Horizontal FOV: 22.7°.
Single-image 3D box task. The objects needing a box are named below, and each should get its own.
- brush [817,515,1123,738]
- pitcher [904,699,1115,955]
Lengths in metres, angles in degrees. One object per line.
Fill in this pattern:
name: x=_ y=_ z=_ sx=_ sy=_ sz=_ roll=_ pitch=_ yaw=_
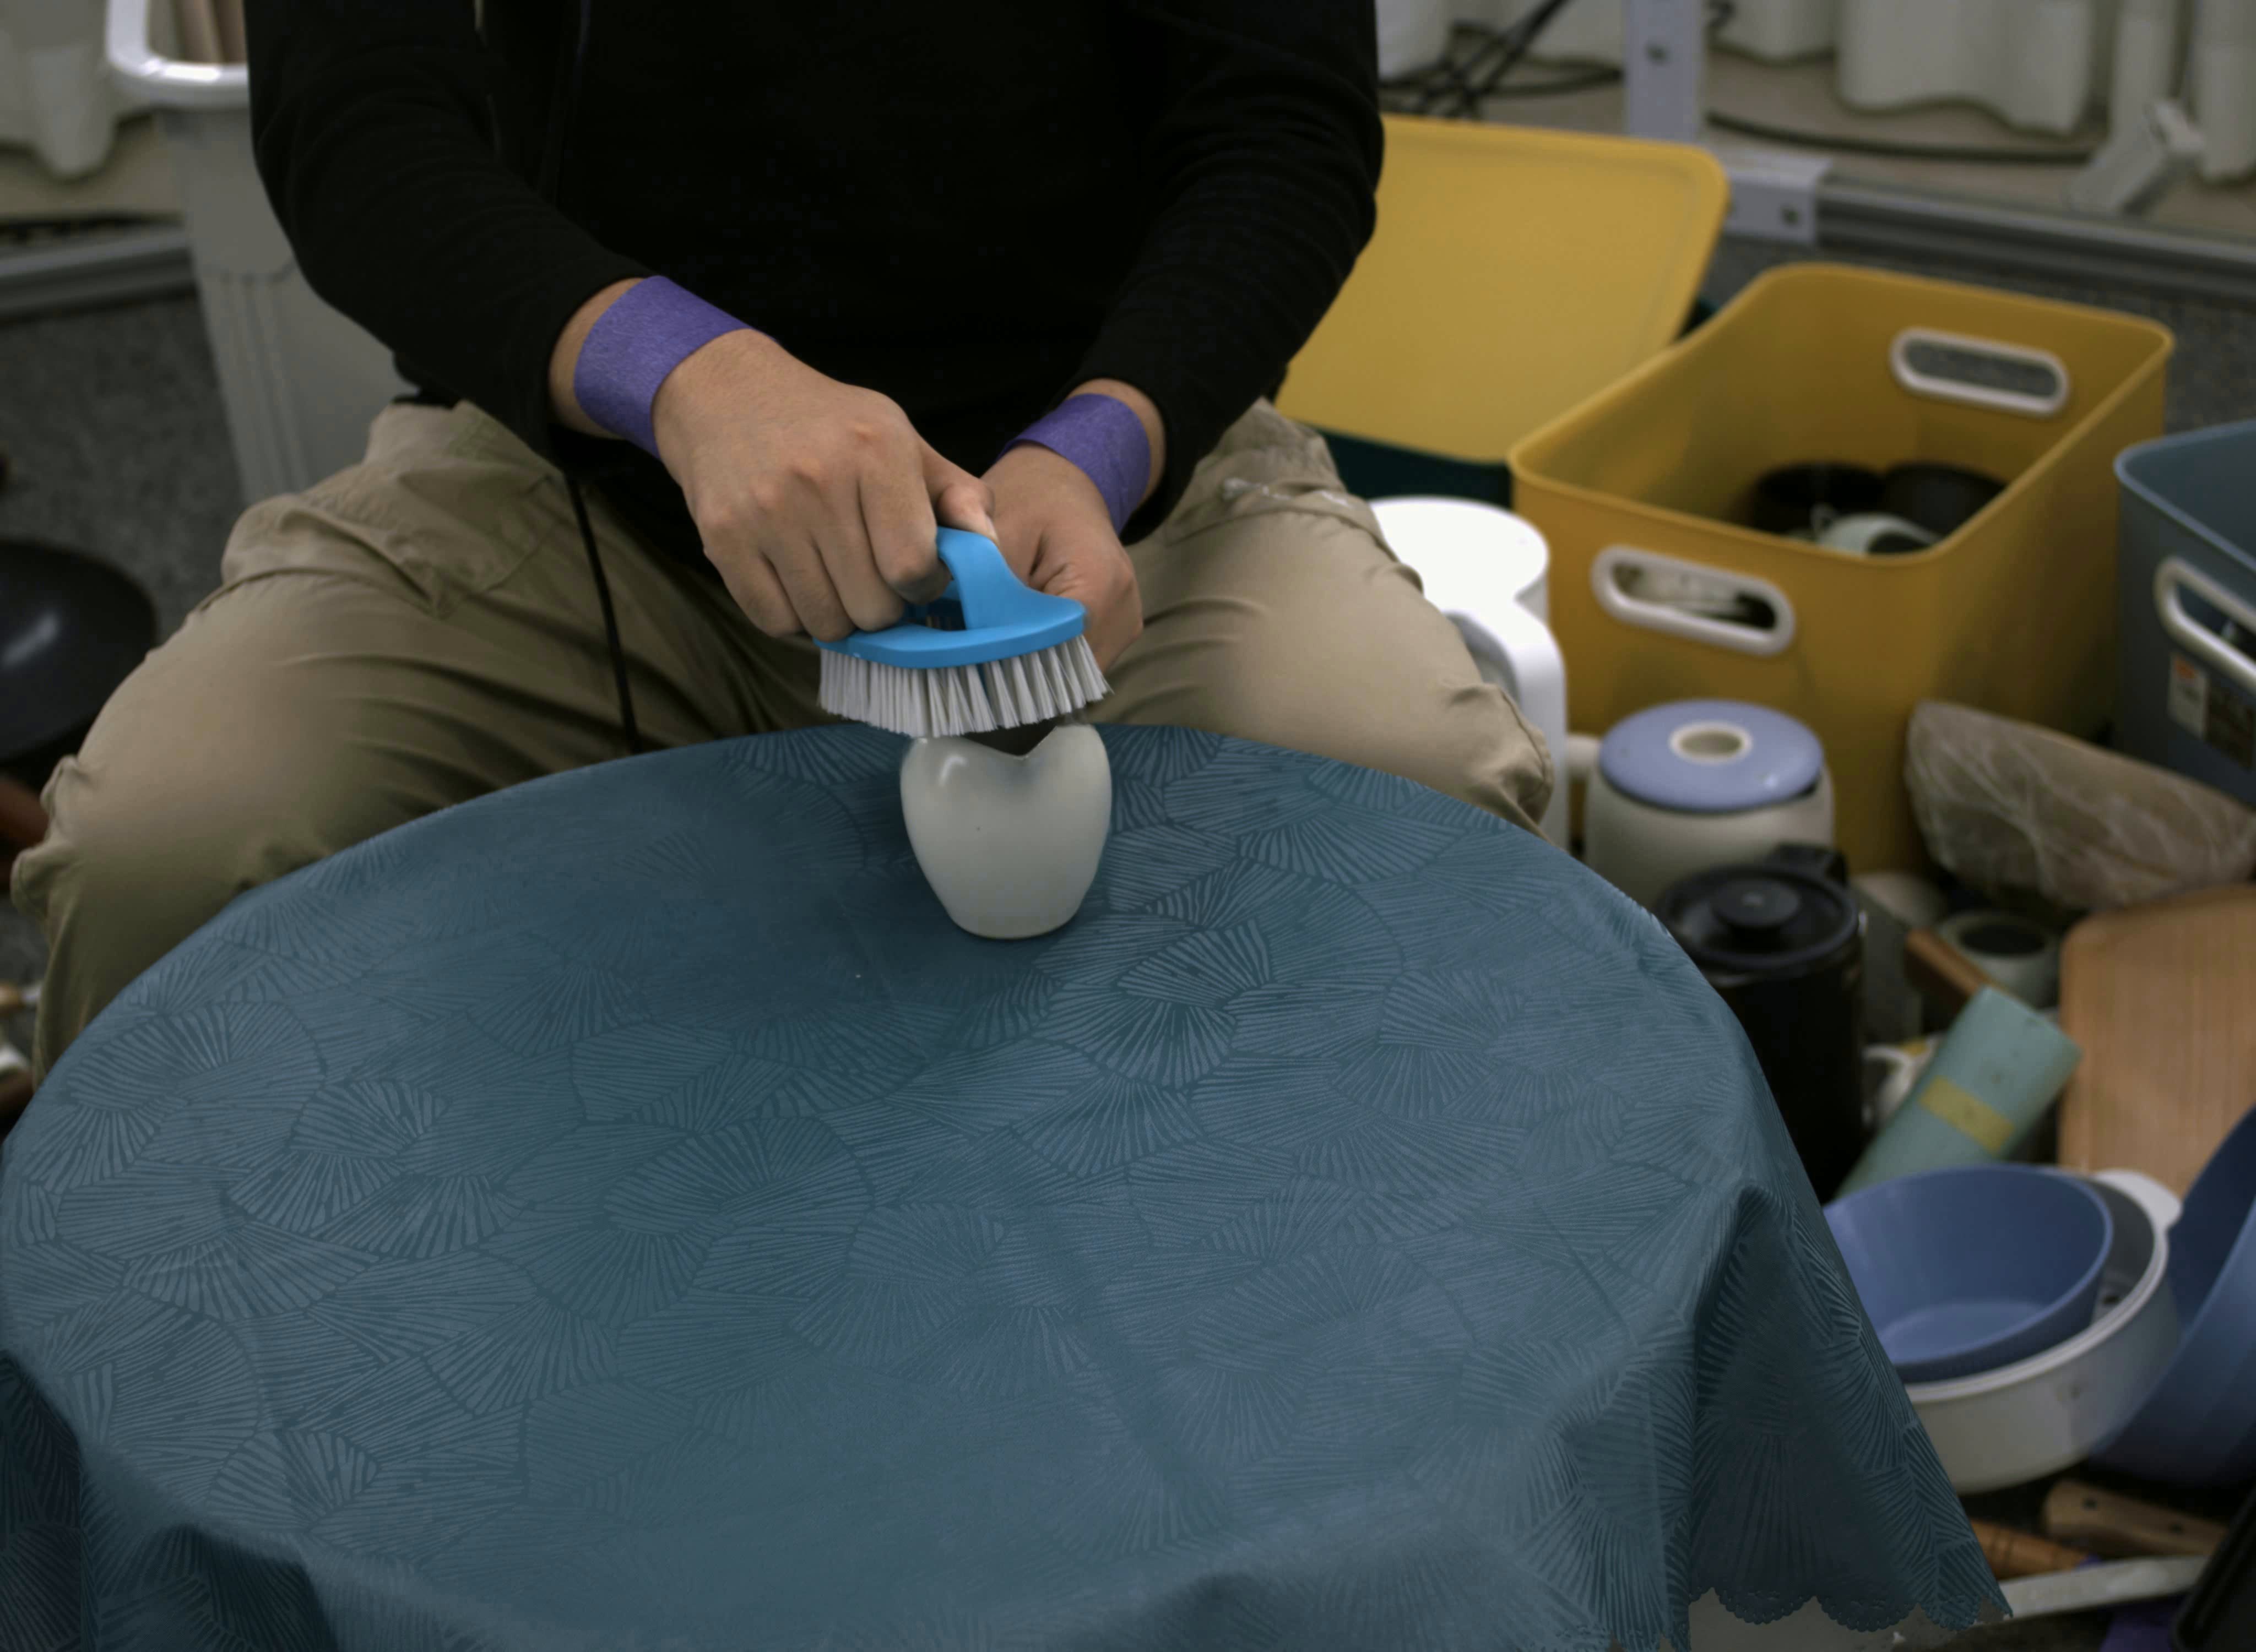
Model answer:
brush: x=-0.061 y=-0.076 z=1.989 sx=0.085 sy=0.063 sz=0.141 roll=-19 pitch=14 yaw=-20
pitcher: x=-0.043 y=-0.006 z=2.019 sx=0.075 sy=0.087 sz=0.121 roll=0 pitch=30 yaw=-6
